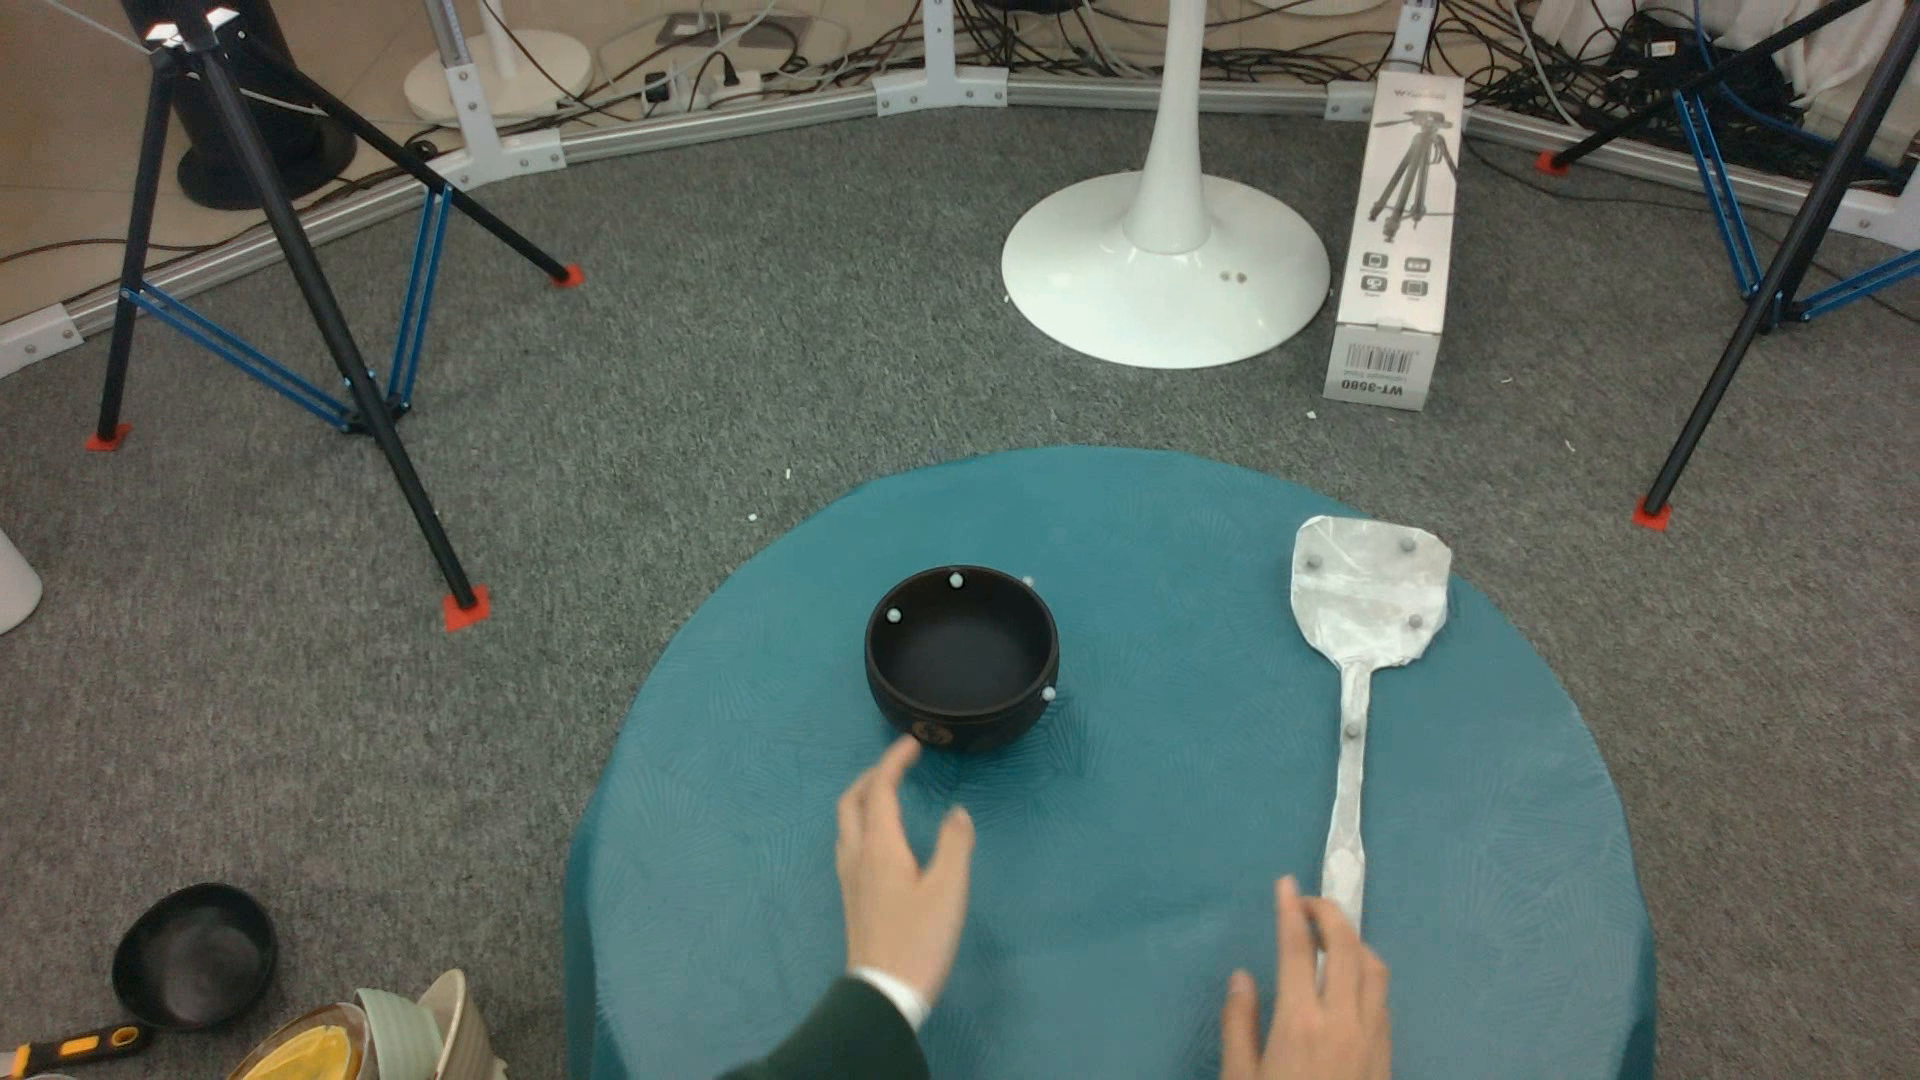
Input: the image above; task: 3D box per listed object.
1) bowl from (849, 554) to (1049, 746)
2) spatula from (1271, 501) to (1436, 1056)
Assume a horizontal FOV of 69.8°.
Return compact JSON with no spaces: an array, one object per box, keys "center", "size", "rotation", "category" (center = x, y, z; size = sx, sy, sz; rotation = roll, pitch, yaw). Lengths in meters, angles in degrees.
[{"center":[-0.006,0.073,0.828],"size":[0.118,0.069,0.118],"rotation":[-2,48,2],"category":"bowl"},{"center":[0.218,0.121,0.802],"size":[0.098,0.044,0.367],"rotation":[12,48,10],"category":"spatula"}]
